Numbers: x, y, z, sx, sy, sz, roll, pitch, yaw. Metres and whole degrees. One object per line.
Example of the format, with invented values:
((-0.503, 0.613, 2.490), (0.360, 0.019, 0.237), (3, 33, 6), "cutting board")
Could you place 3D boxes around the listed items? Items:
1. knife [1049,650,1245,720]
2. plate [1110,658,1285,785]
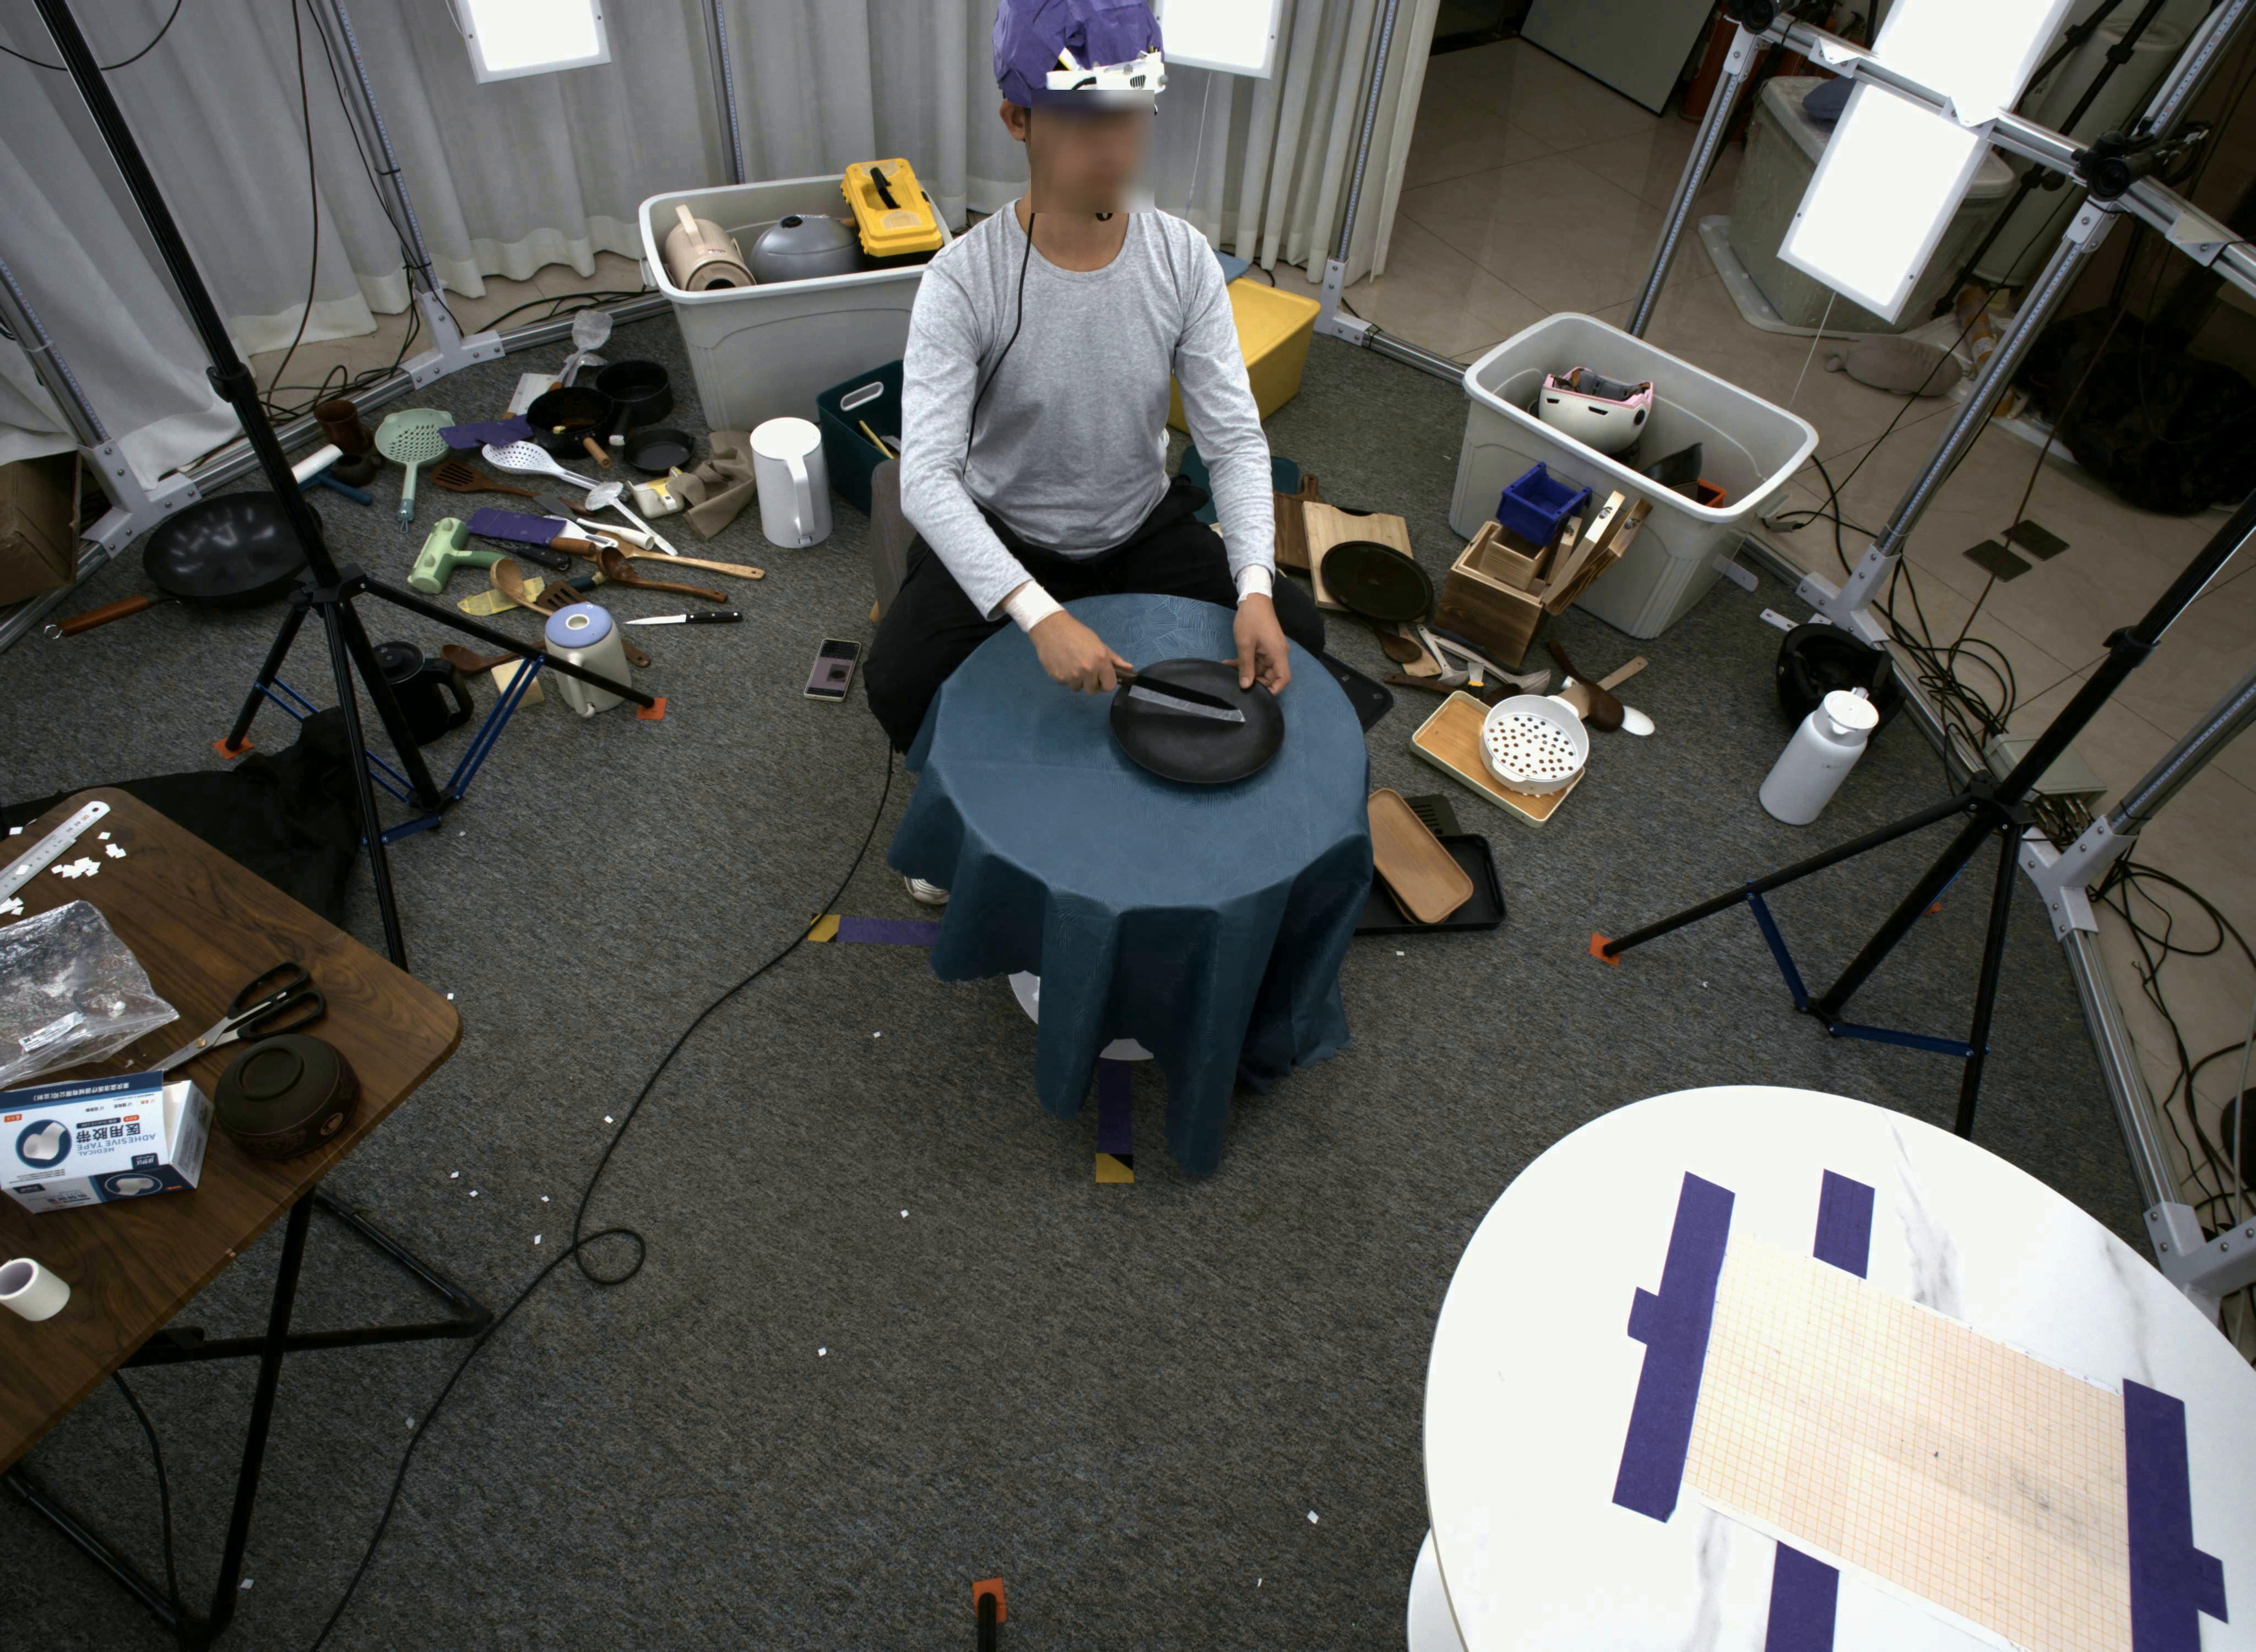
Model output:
((0.028, -0.193, 1.774), (0.288, 0.049, 0.020), (17, 51, -5), "knife")
((0.096, -0.144, 1.784), (0.244, 0.023, 0.250), (2, 49, -2), "plate")
